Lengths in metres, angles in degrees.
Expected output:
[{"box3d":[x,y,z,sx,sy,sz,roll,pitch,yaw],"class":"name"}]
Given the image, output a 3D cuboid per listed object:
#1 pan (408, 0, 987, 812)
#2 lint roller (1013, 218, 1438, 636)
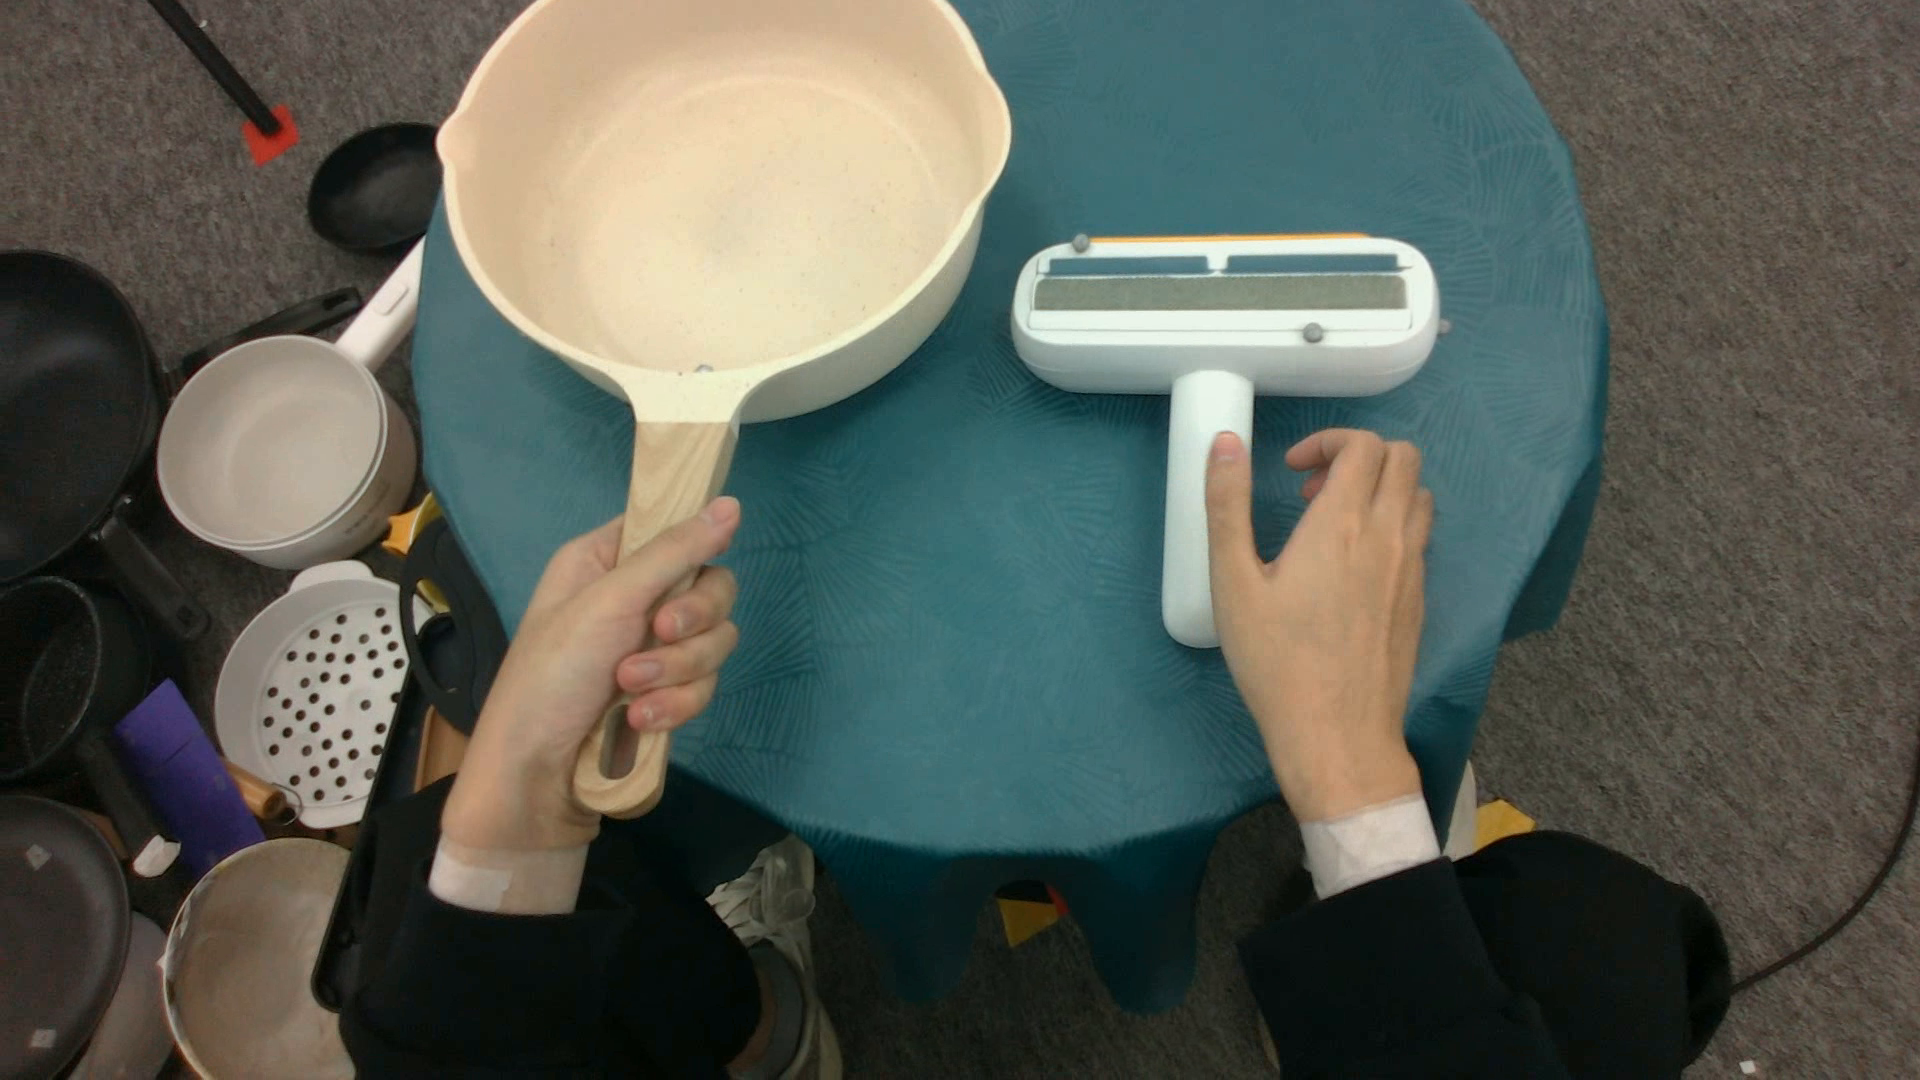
[{"box3d":[-0.120,-0.092,0.616,0.263,0.101,0.436,0,69,3],"class":"pan"},{"box3d":[0.112,-0.053,0.631,0.193,0.074,0.193,7,72,10],"class":"lint roller"}]
